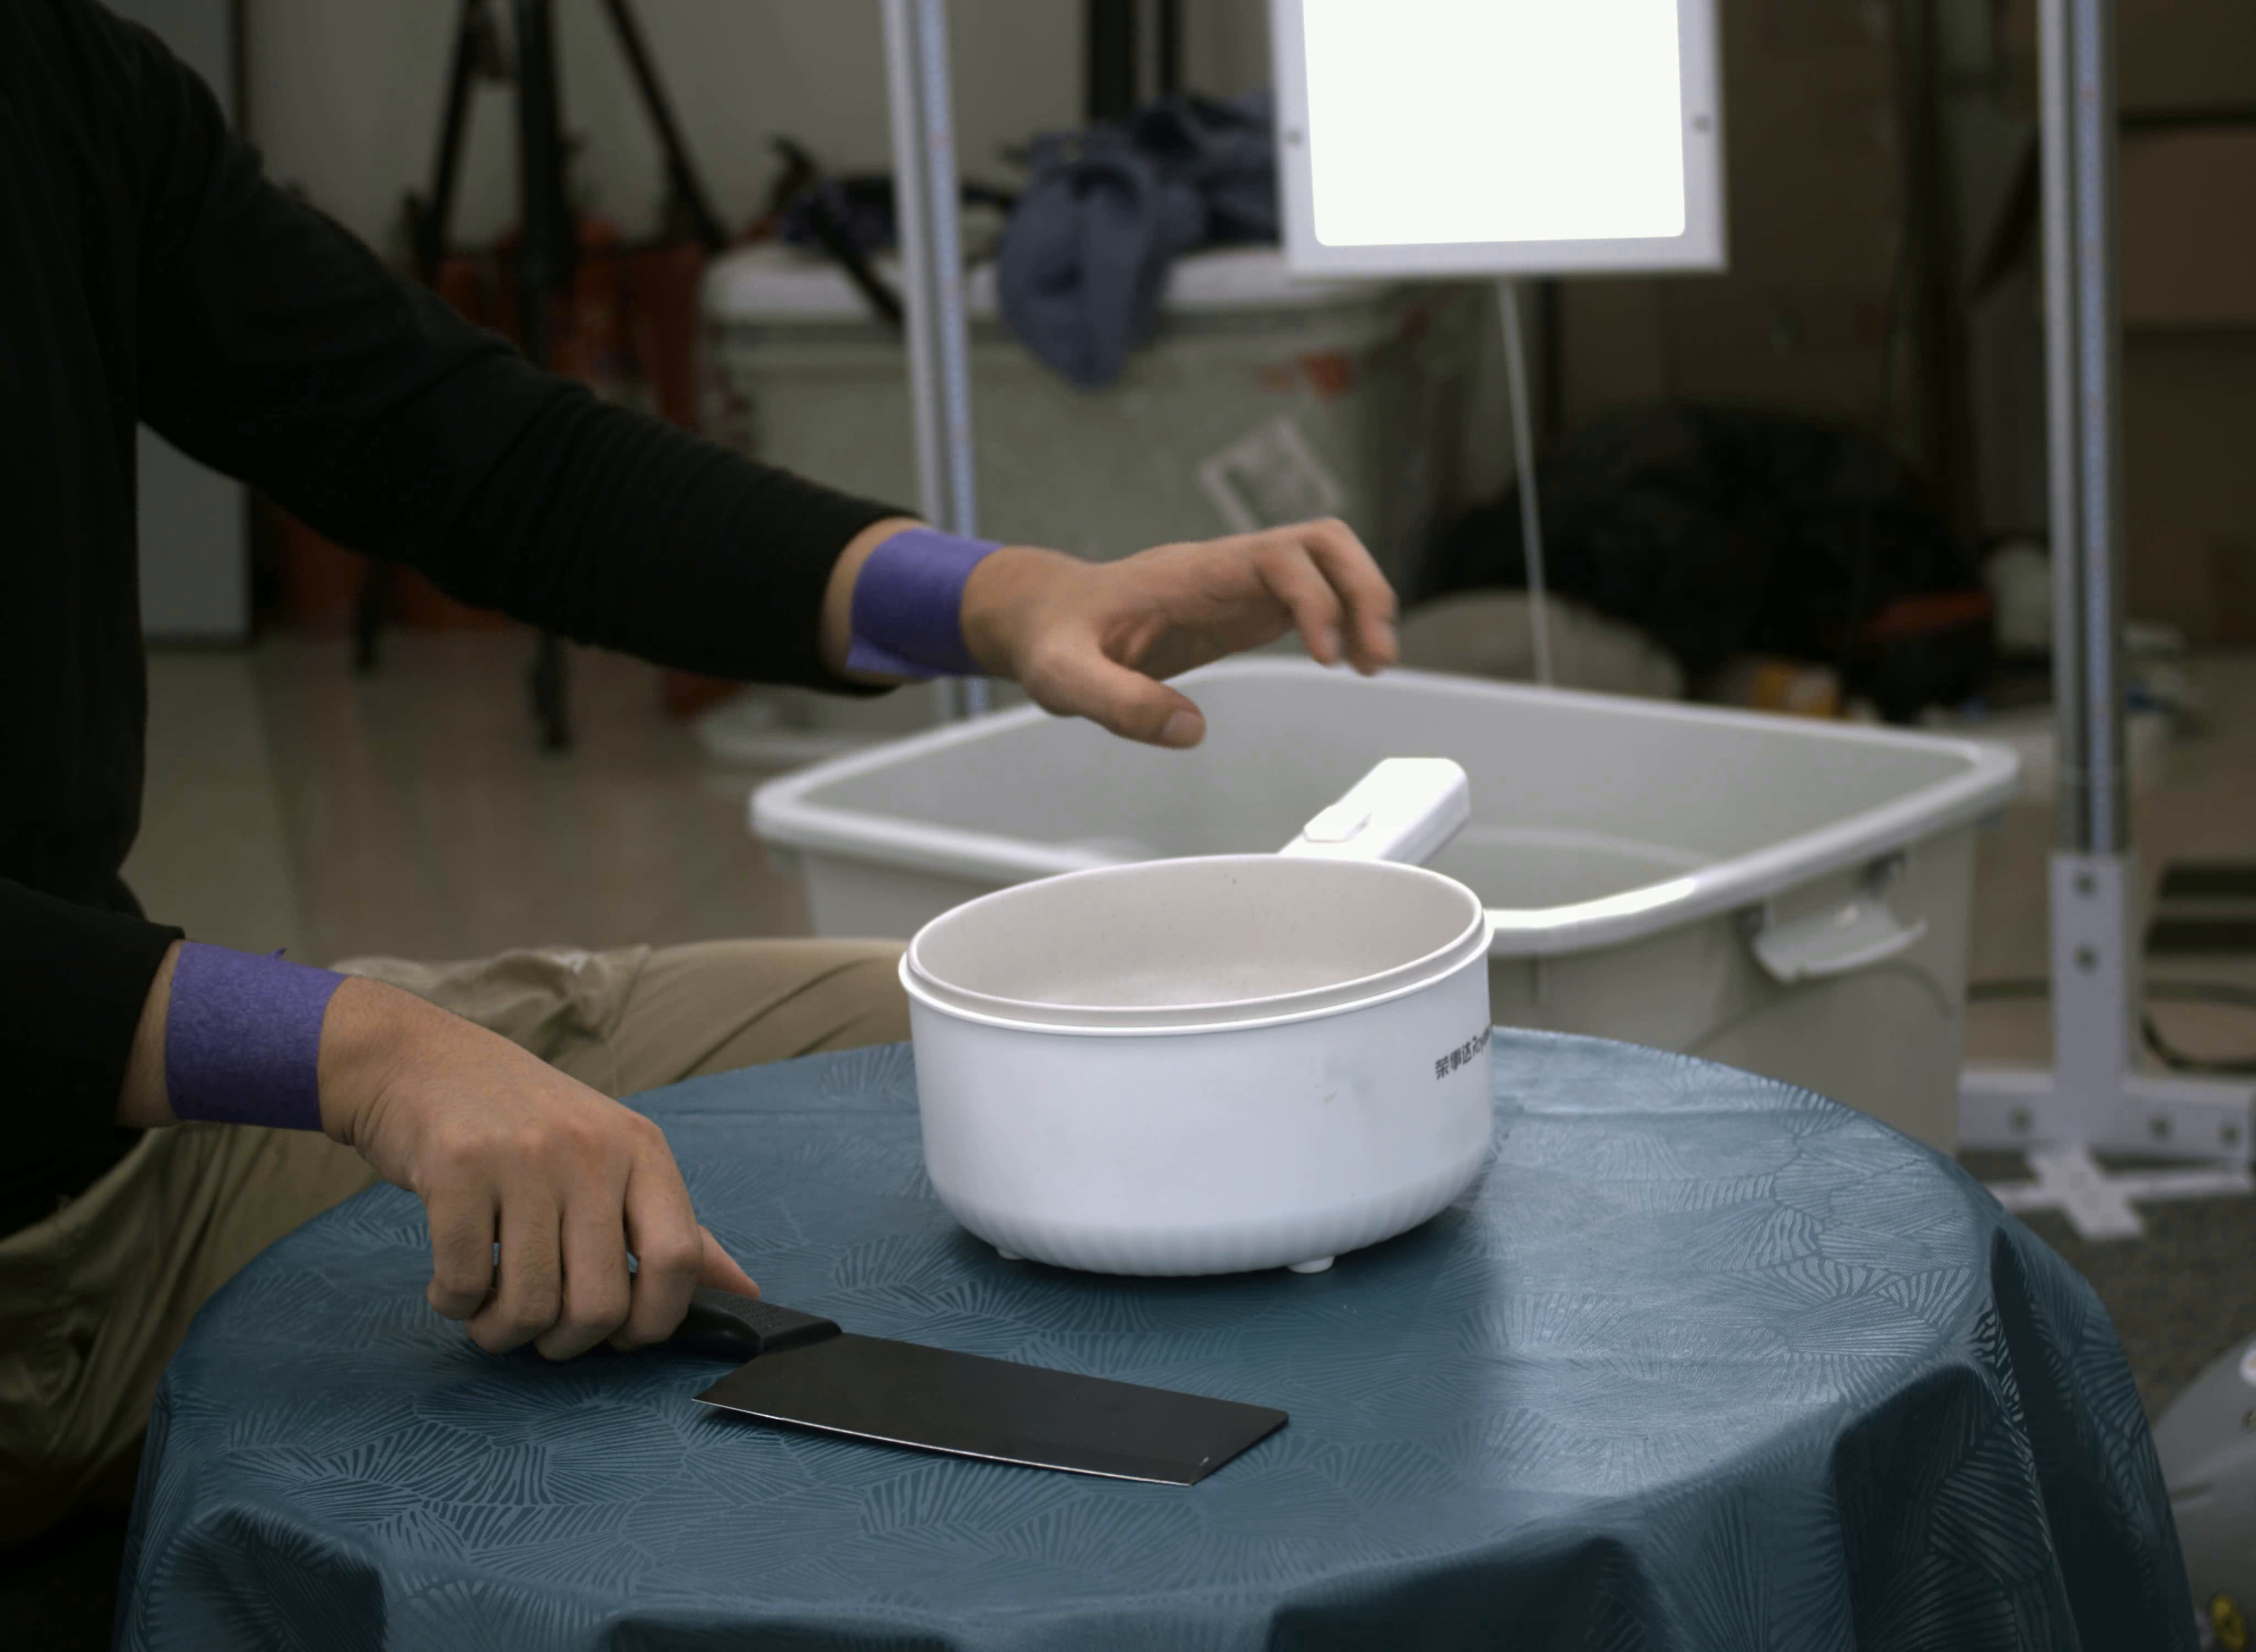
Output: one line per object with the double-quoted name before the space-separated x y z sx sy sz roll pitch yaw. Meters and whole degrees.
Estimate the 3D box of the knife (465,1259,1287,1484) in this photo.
"knife" -0.090 0.171 1.725 0.308 0.021 0.079 8 20 38

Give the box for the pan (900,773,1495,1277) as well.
"pan" 0.054 0.066 1.926 0.204 0.102 0.348 0 13 22
